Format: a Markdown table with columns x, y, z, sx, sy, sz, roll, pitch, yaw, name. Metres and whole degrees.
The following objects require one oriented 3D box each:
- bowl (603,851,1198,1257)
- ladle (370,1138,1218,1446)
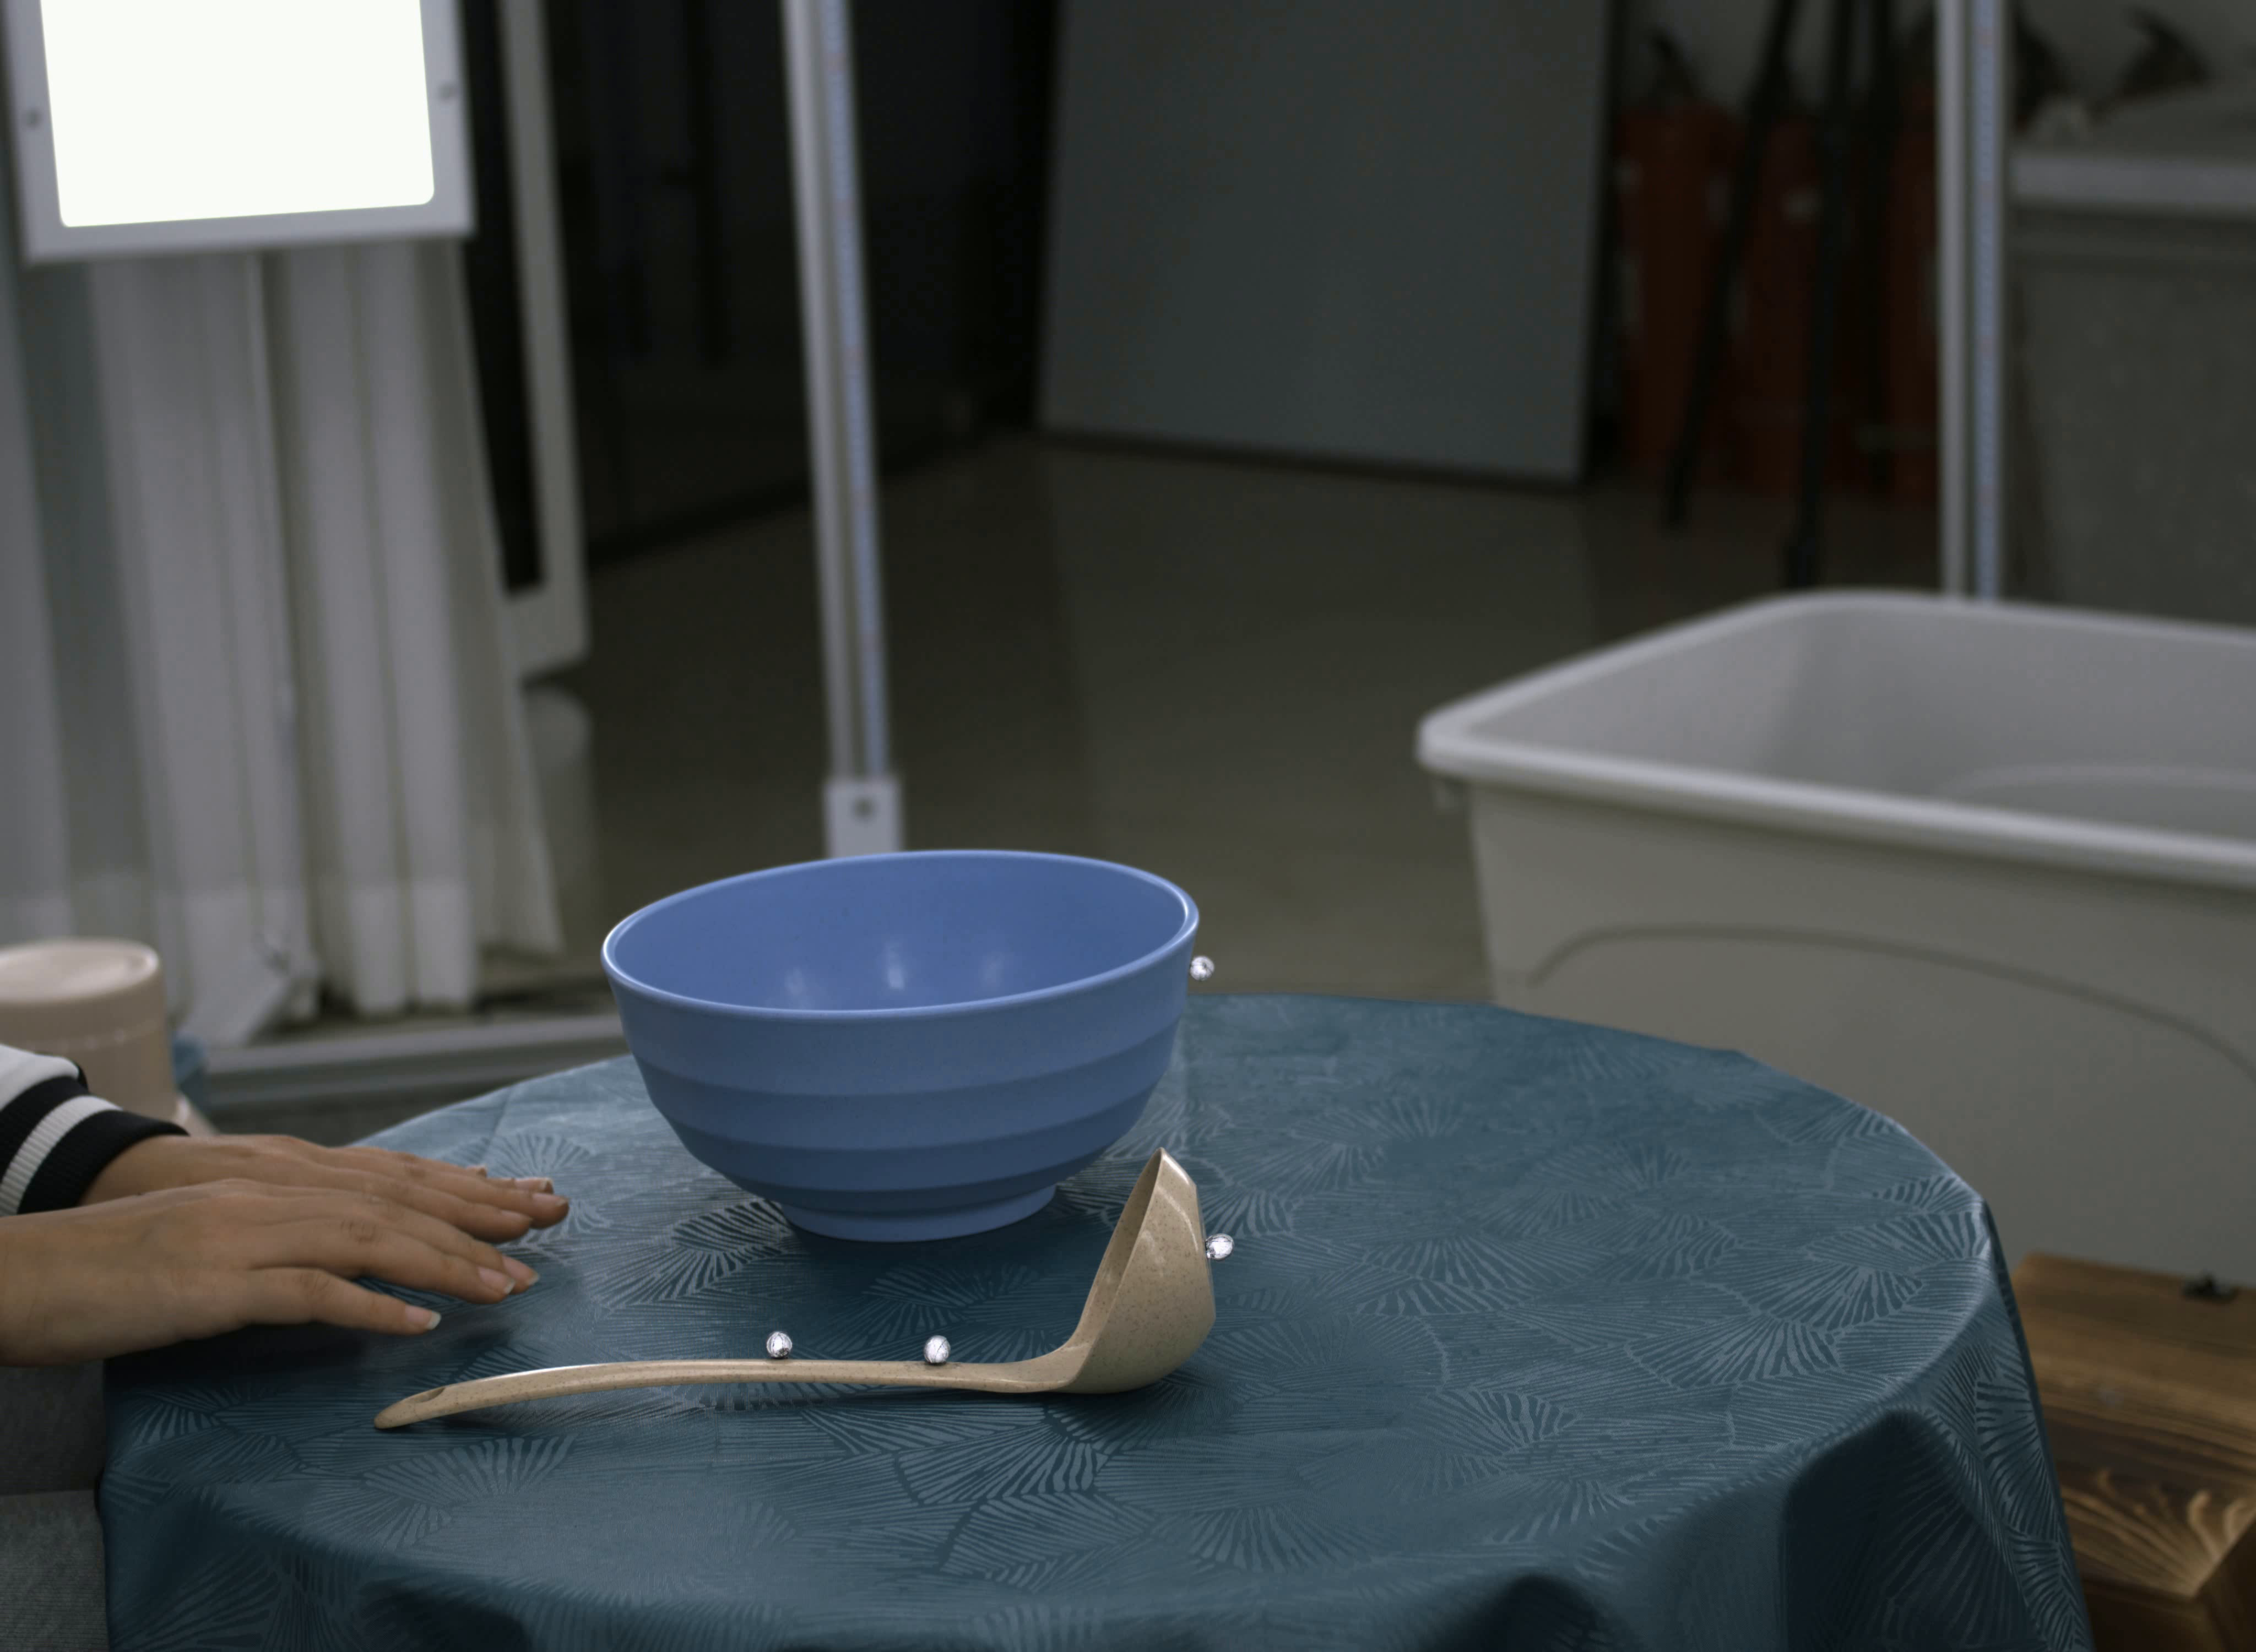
| x | y | z | sx | sy | sz | roll | pitch | yaw | name |
| --- | --- | --- | --- | --- | --- | --- | --- | --- | --- |
| -0.071 | 0.081 | 1.768 | 0.194 | 0.096 | 0.197 | -4 | 15 | 0 | bowl |
| -0.100 | 0.136 | 1.584 | 0.251 | 0.073 | 0.072 | -4 | 12 | 1 | ladle |
